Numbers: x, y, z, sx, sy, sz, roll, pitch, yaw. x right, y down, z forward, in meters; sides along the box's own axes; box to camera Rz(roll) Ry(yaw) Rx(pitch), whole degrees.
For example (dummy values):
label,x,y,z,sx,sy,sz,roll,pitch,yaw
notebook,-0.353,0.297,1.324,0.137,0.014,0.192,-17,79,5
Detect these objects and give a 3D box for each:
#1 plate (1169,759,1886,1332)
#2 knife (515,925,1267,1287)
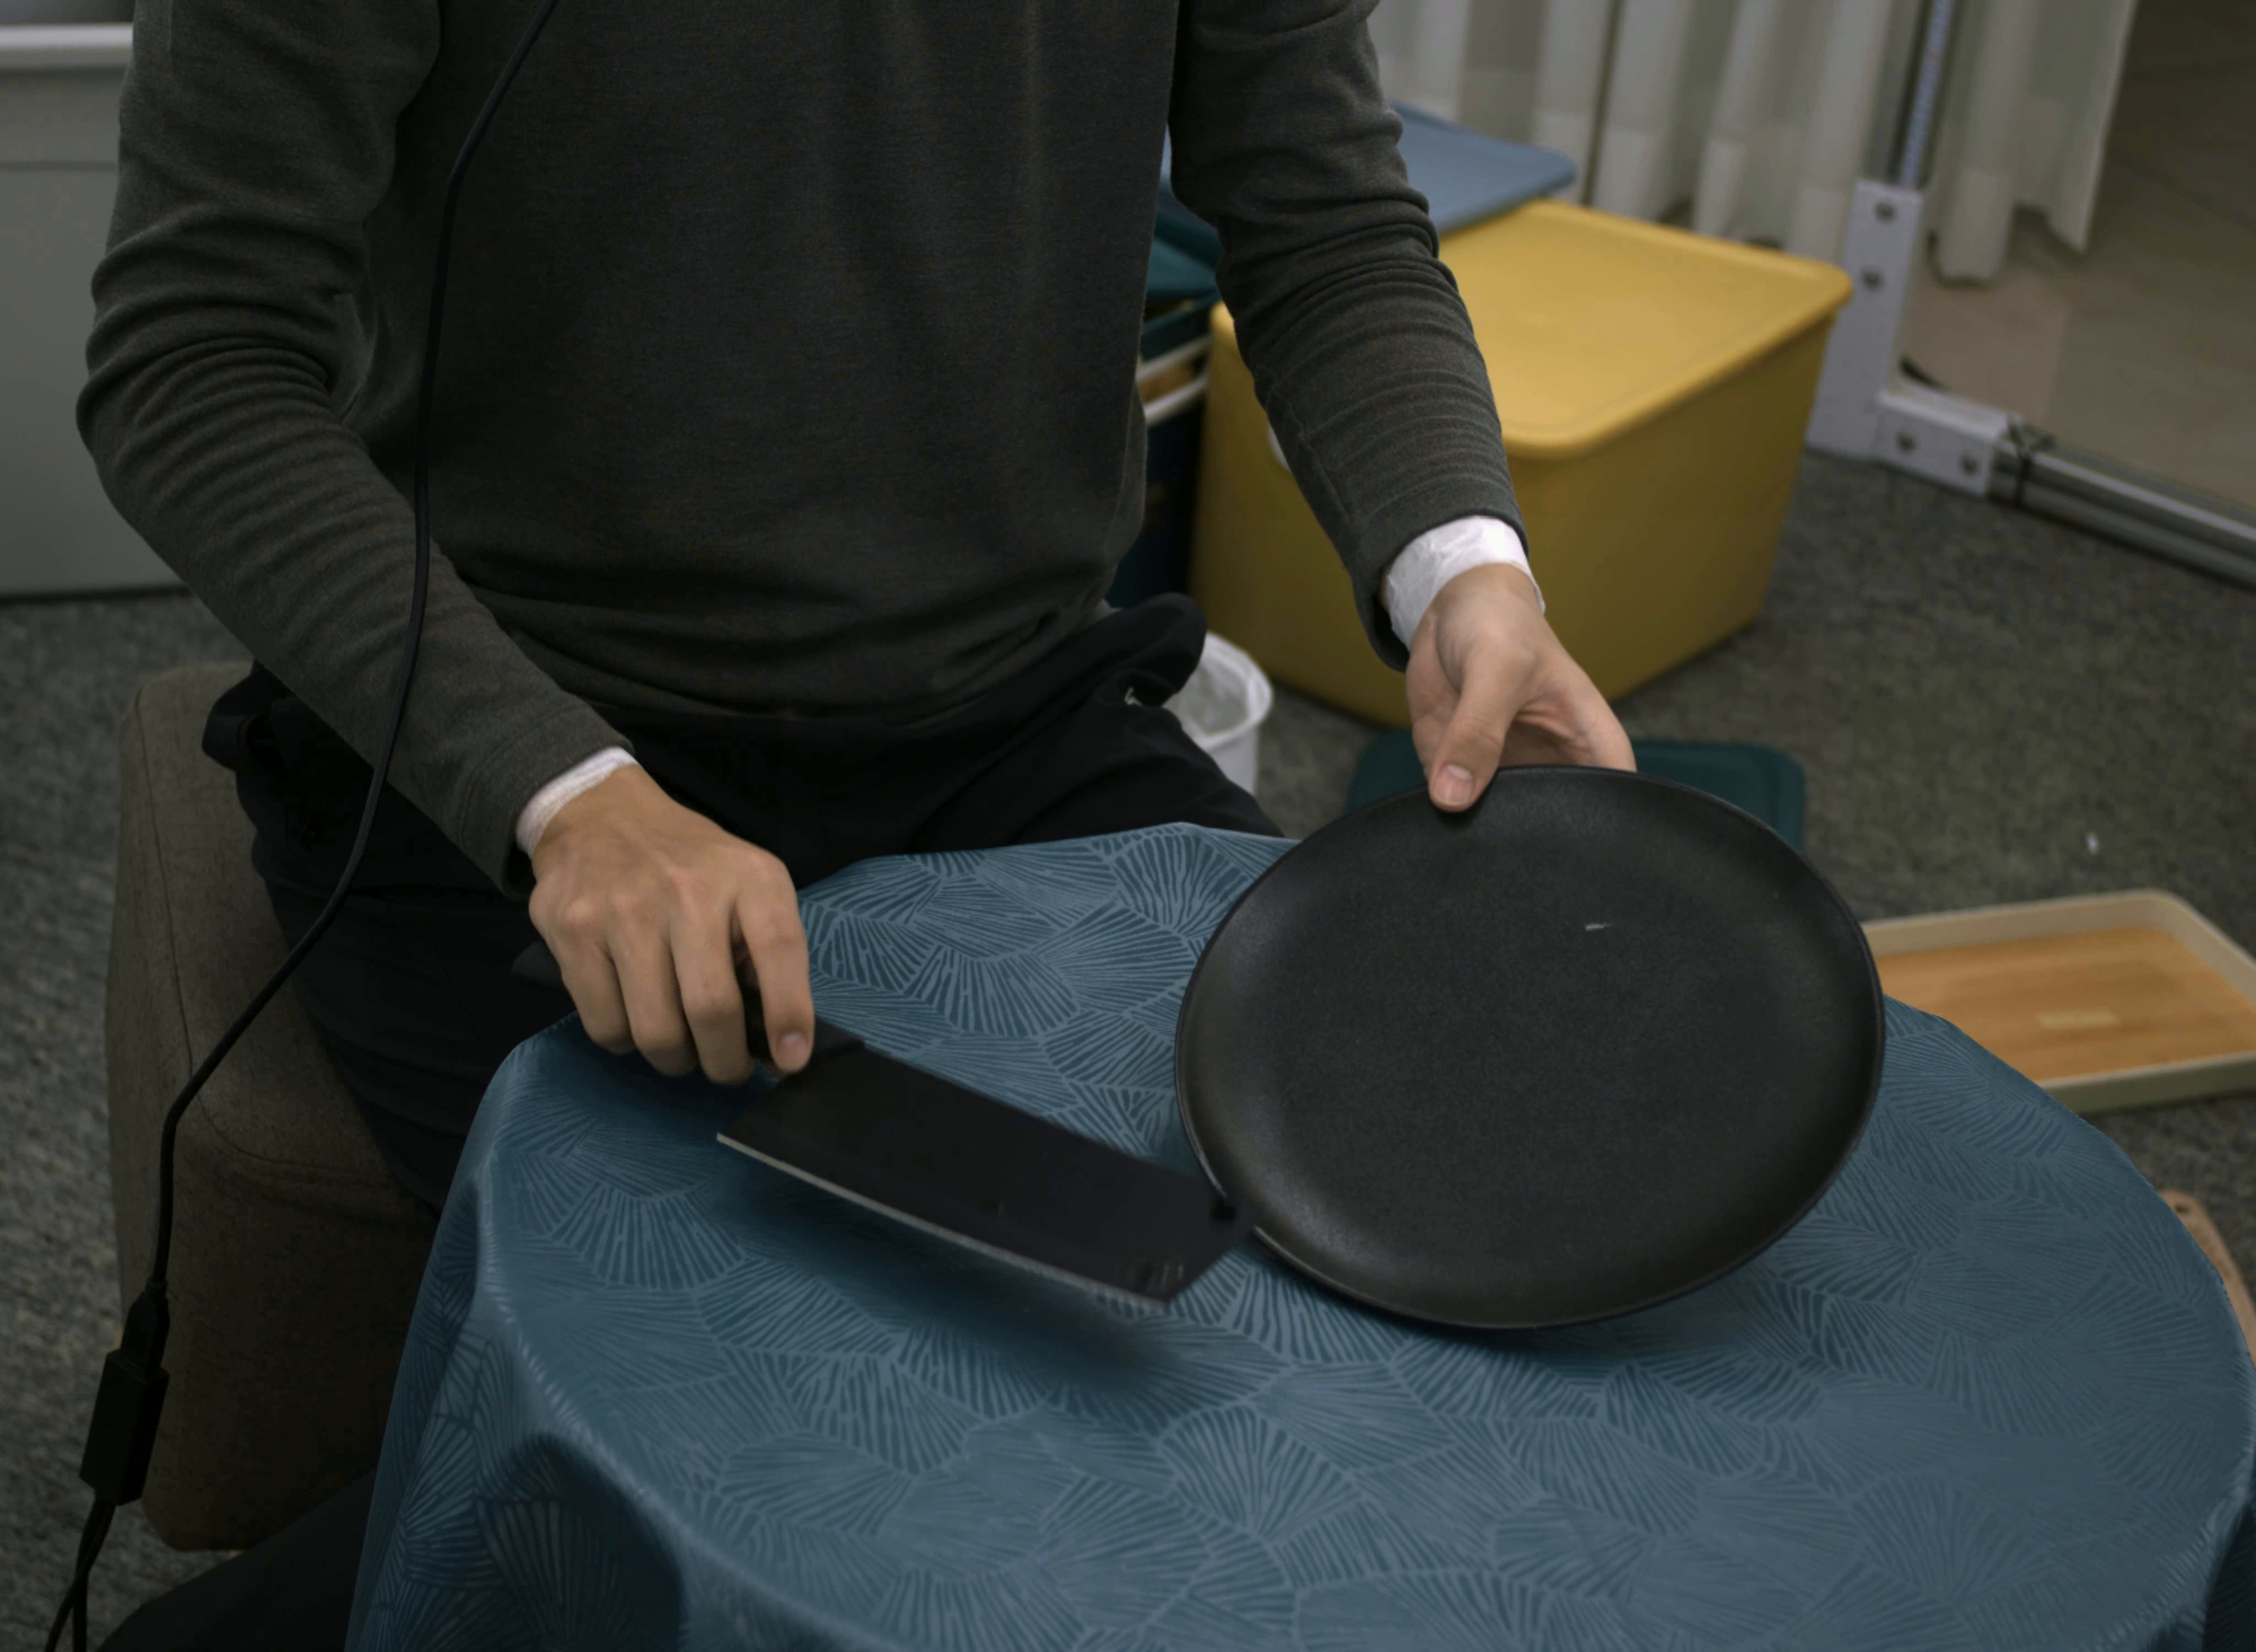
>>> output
label,x,y,z,sx,sy,sz,roll,pitch,yaw
plate,0.136,0.077,1.817,0.244,0.023,0.246,-6,50,6
knife,-0.090,0.091,1.777,0.304,0.021,0.081,22,41,35
